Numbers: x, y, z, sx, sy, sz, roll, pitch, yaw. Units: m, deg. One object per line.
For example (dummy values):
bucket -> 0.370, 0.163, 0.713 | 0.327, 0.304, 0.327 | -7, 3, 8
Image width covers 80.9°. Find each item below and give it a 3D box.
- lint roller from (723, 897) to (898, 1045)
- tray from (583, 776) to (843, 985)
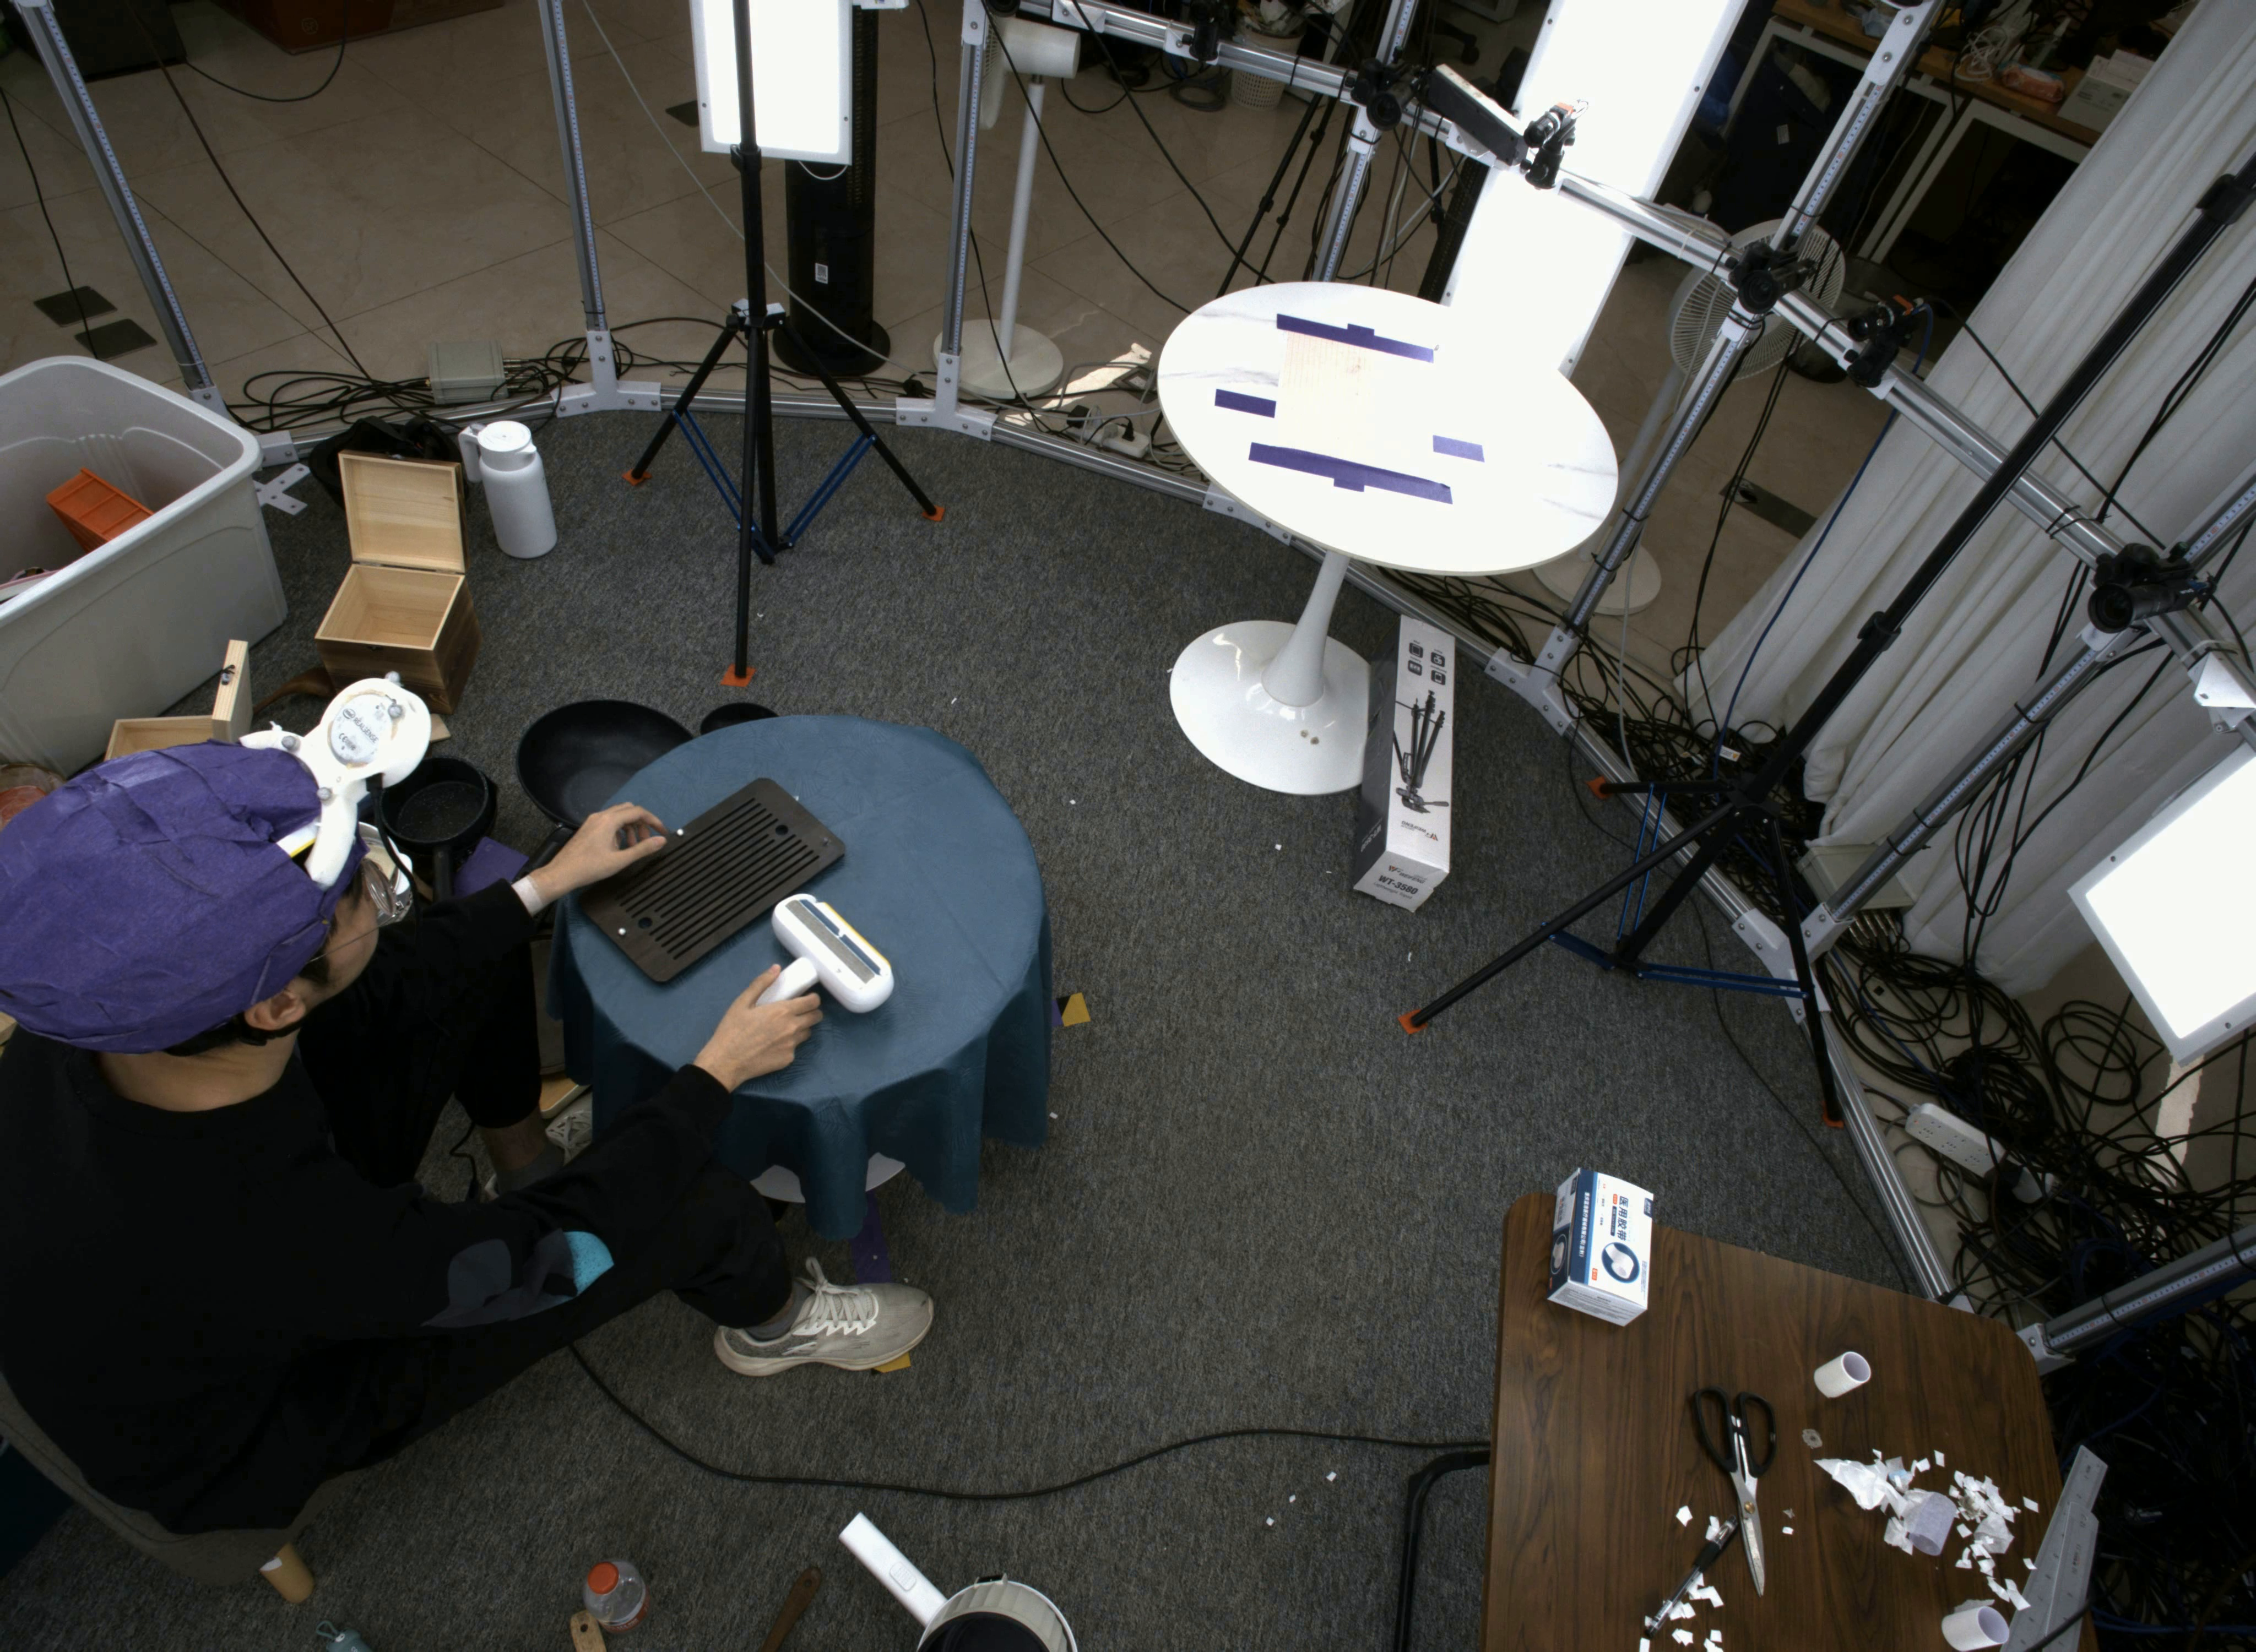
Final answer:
lint roller -> -0.400, 0.187, 1.555 | 0.193, 0.076, 0.187 | -31, 61, -29
tray -> -0.528, 0.062, 1.645 | 0.167, 0.019, 0.306 | 40, 54, 15
